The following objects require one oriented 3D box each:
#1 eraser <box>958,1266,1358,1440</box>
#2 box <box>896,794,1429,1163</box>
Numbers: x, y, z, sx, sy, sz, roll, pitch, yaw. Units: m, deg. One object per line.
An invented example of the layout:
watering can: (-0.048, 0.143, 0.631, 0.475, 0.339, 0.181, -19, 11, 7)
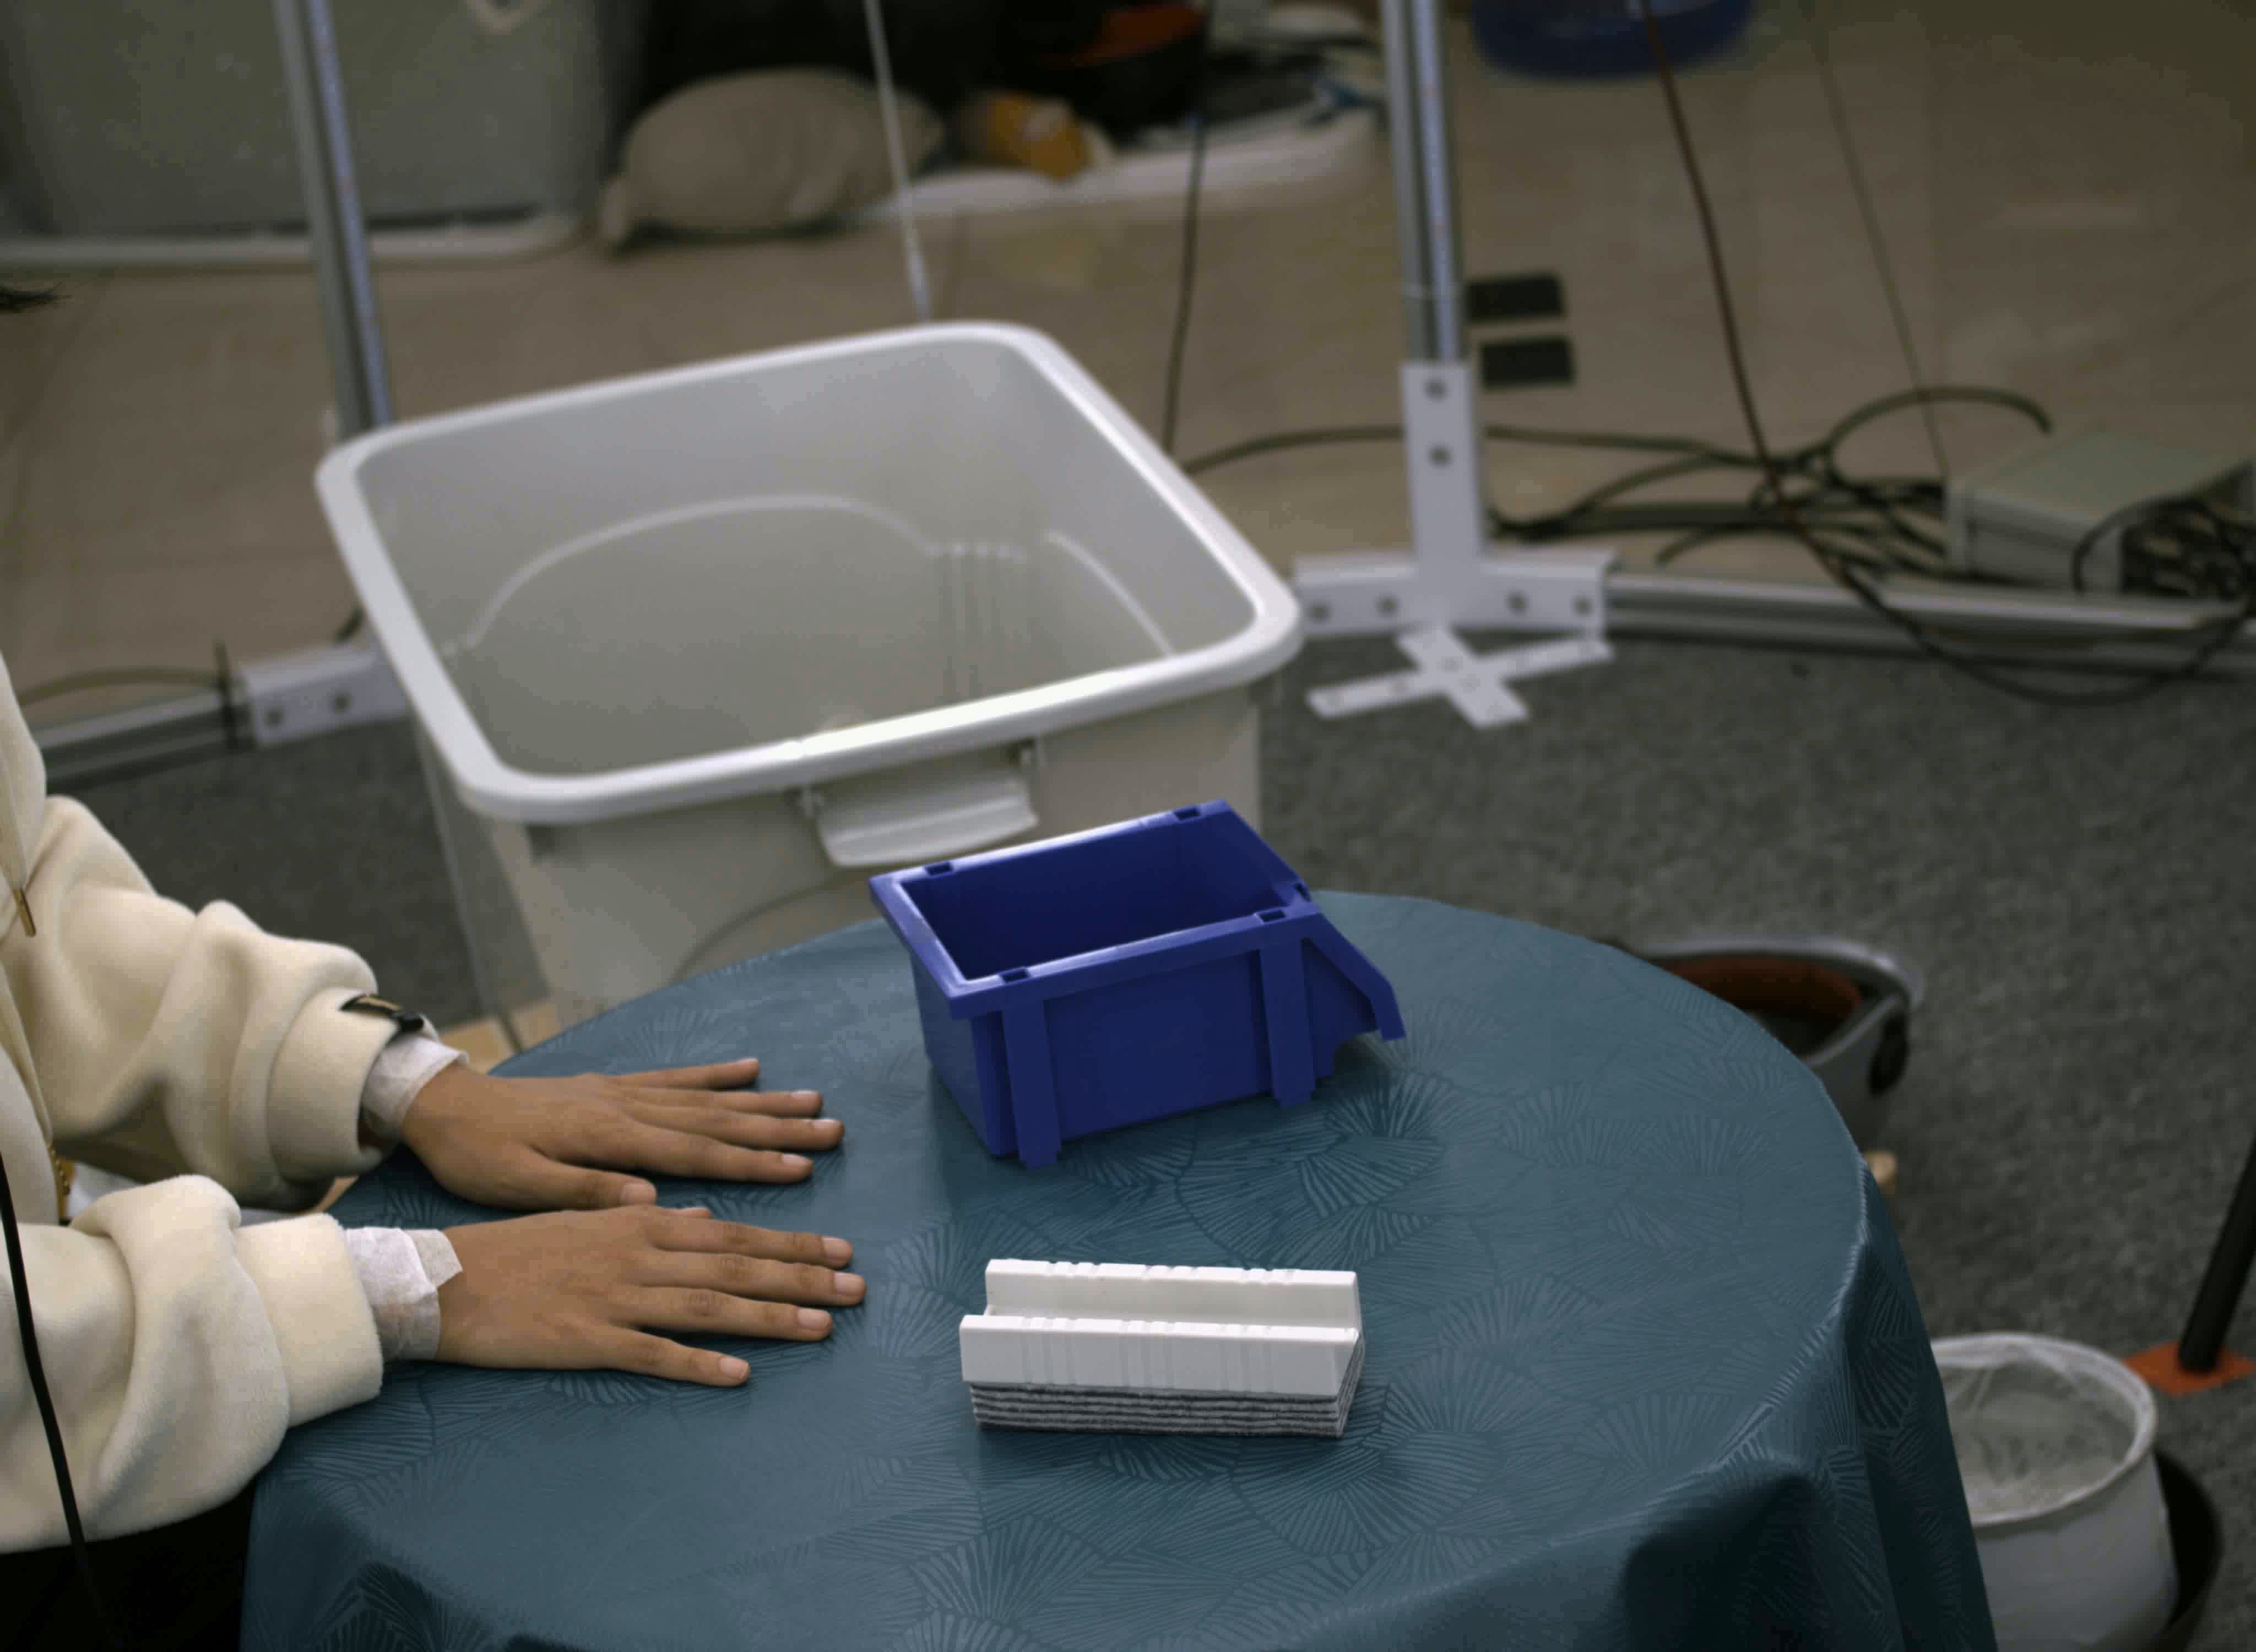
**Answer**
eraser: (0.011, 0.184, 1.992, 0.134, 0.047, 0.049, 0, 29, 11)
box: (0.013, 0.056, 2.224, 0.179, 0.083, 0.123, -14, 26, -10)
